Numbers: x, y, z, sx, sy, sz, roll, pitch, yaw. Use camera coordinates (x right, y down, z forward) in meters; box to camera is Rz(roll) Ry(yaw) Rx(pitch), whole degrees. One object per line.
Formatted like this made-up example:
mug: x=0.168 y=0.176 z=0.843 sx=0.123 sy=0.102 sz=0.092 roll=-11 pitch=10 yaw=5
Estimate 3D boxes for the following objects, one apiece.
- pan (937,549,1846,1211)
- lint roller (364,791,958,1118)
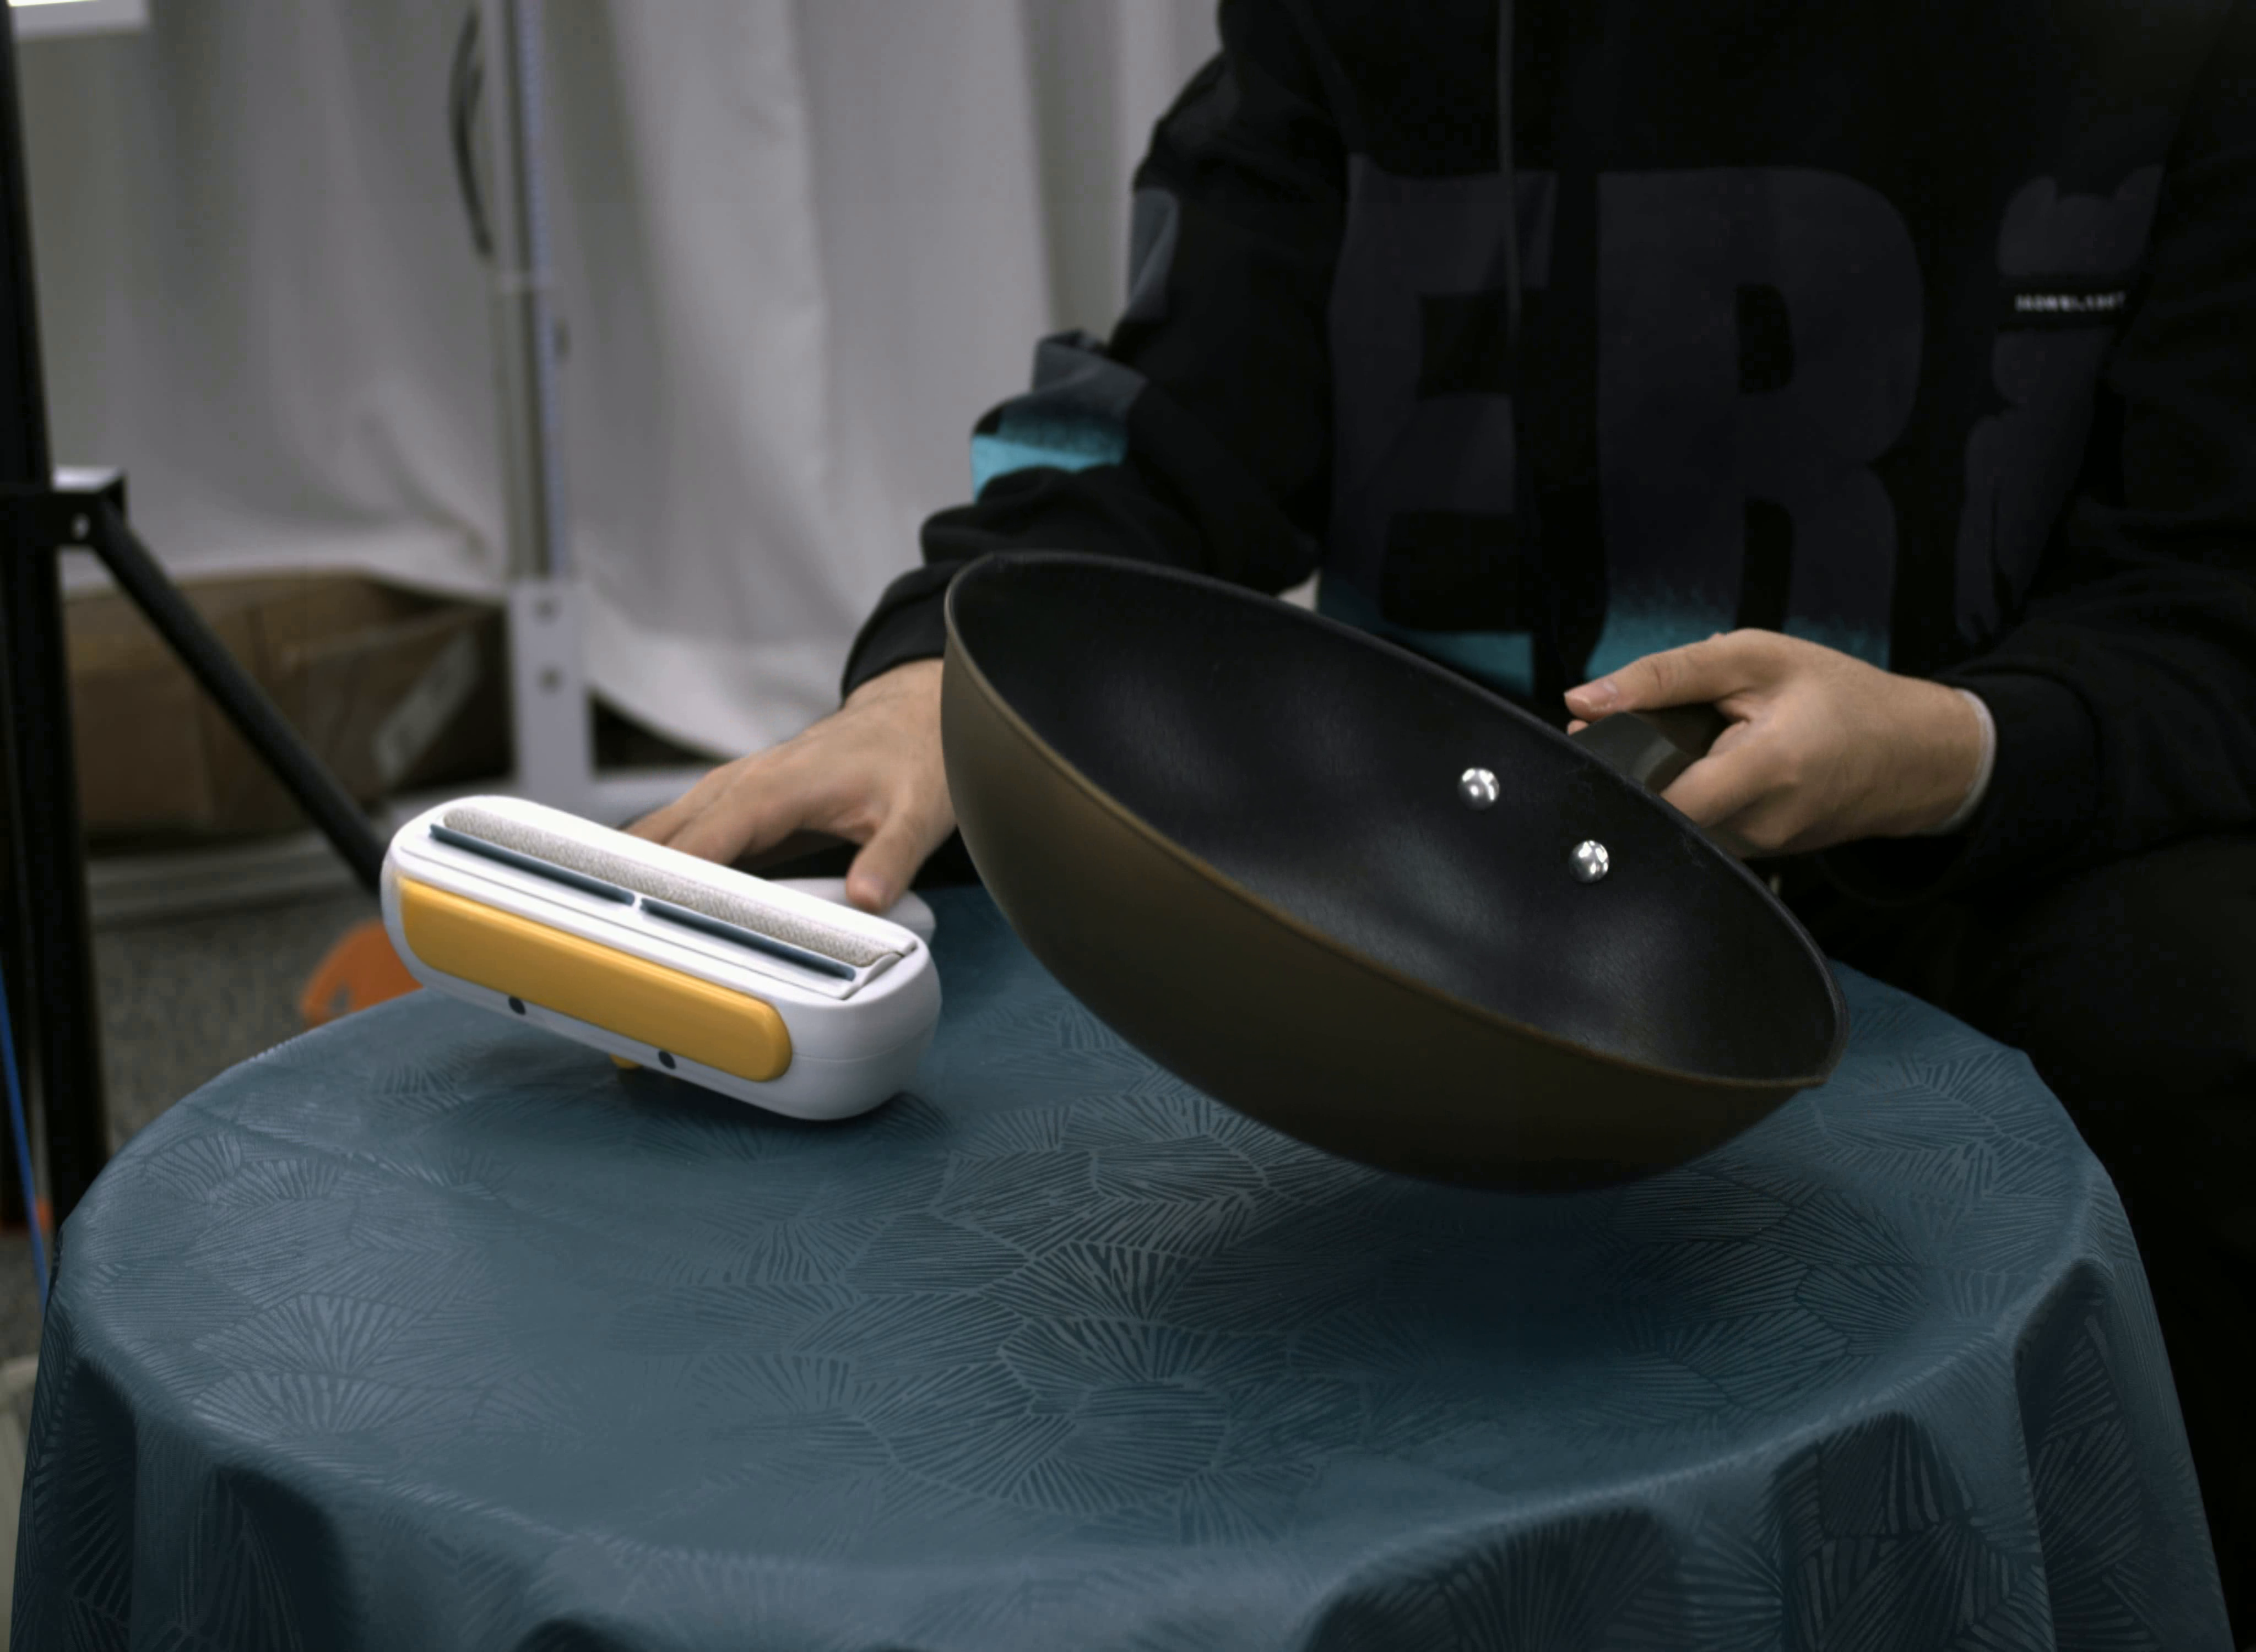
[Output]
pan: x=0.100 y=0.016 z=1.577 sx=0.292 sy=0.087 sz=0.454 roll=33 pitch=20 yaw=20
lint roller: x=-0.122 y=0.032 z=1.720 sx=0.197 sy=0.074 sz=0.188 roll=14 pitch=21 yaw=33
